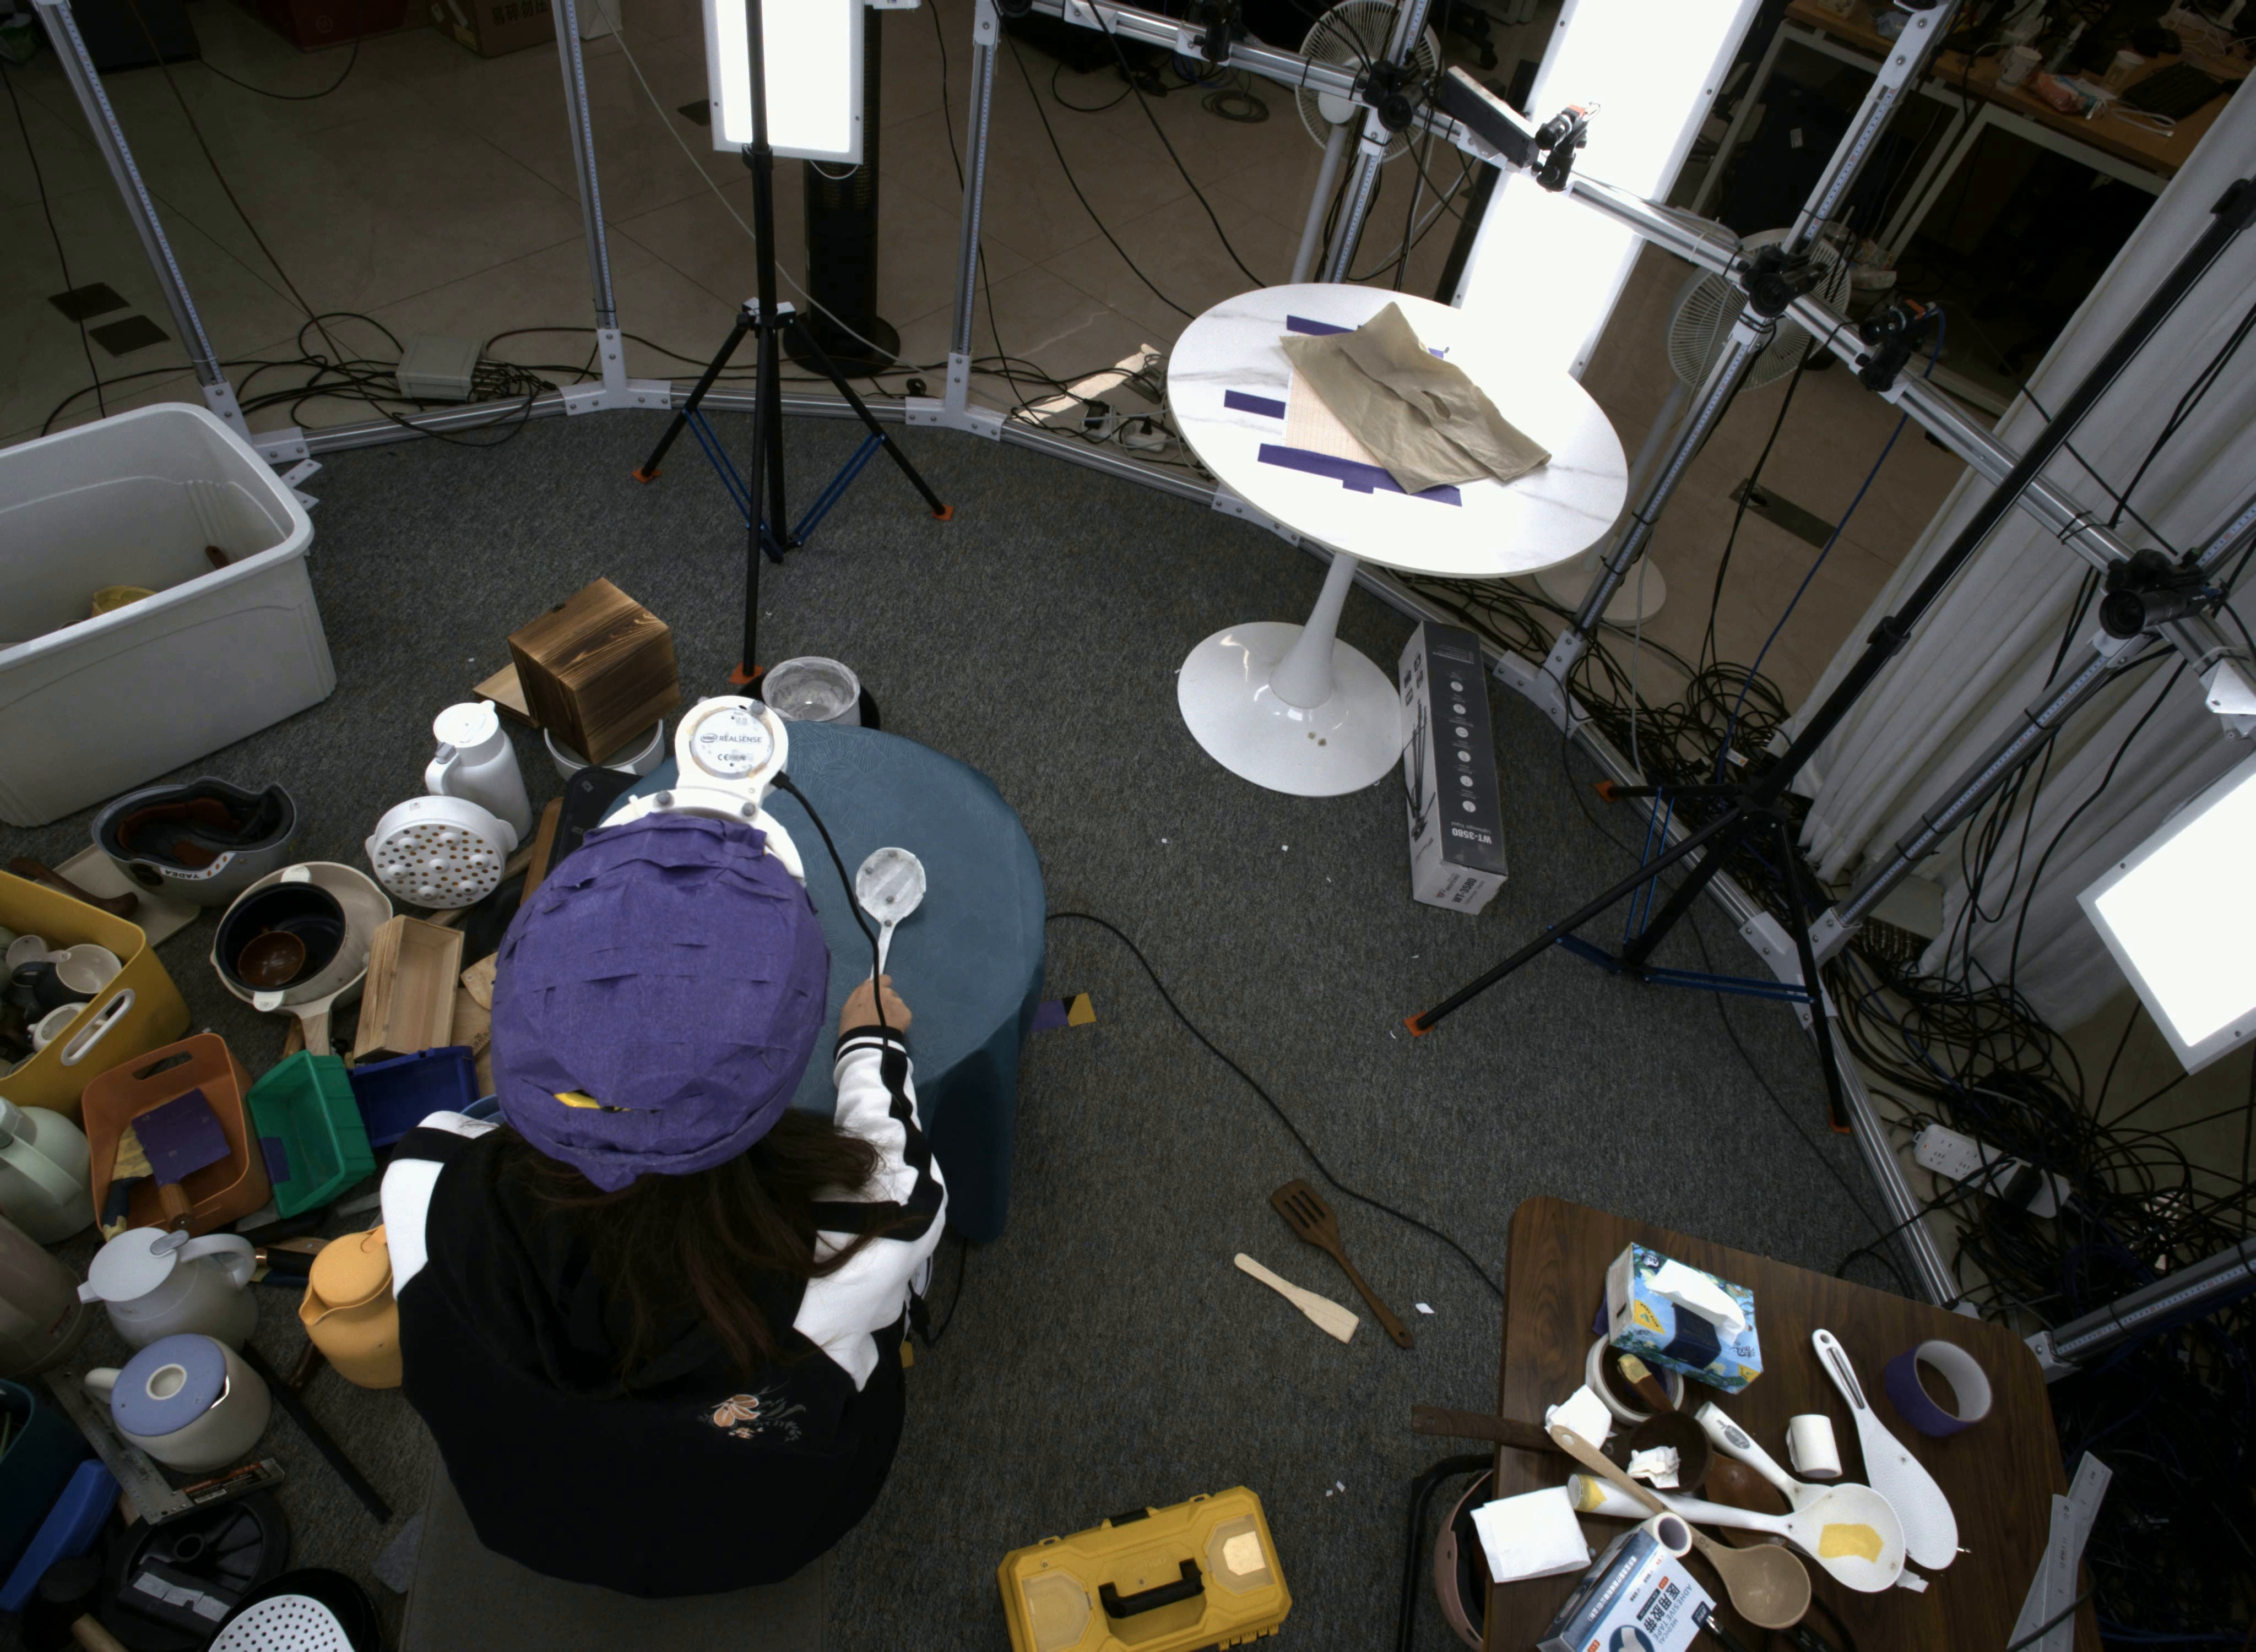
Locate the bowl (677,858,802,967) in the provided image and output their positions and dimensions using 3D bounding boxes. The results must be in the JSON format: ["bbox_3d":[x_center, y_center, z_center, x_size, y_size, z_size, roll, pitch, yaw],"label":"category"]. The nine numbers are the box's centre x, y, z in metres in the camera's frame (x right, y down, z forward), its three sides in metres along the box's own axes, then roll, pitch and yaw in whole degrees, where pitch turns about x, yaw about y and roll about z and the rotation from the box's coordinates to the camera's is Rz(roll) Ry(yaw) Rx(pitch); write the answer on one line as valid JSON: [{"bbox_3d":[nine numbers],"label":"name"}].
[{"bbox_3d":[-0.475,0.114,1.586,0.151,0.060,0.149,8,52,-8],"label":"bowl"}]

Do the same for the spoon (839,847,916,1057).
[{"bbox_3d":[-0.328,0.148,1.594,0.098,0.061,0.273,-2,49,12],"label":"spoon"}]
